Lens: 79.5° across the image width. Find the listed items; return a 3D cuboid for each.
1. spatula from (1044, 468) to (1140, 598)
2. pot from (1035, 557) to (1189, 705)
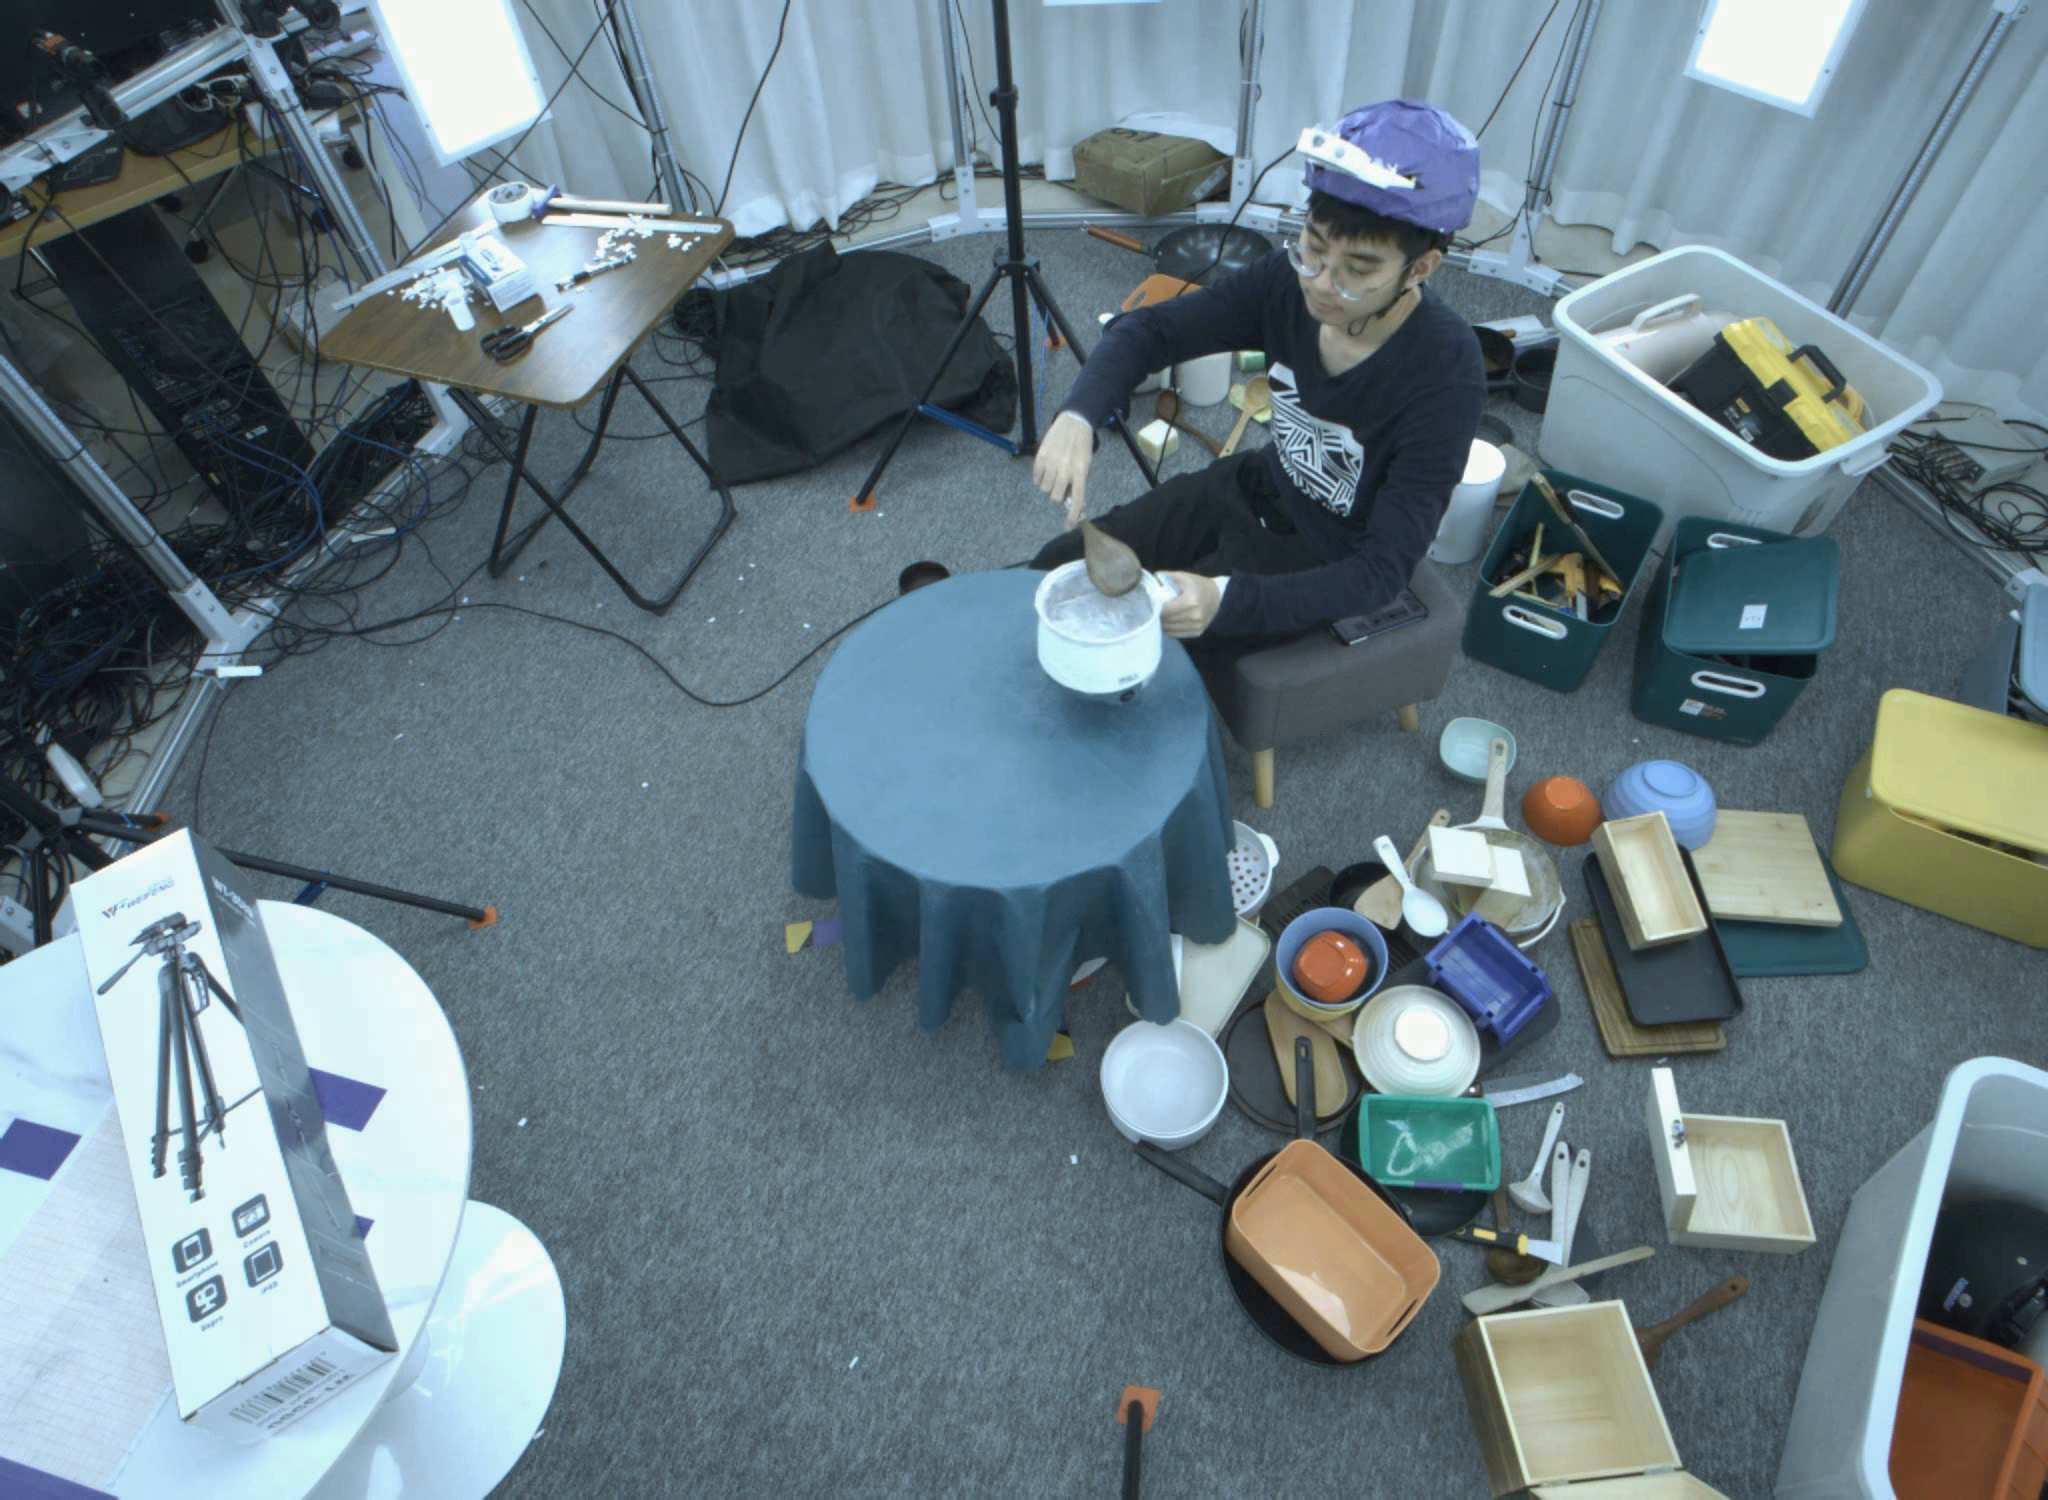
[{"bbox_3d":[0.091,-0.315,1.747,0.072,0.009,0.215,-32,86,5],"label":"spatula"},{"bbox_3d":[0.130,-0.178,1.759,0.236,0.138,0.175,-23,55,-17],"label":"pot"}]
